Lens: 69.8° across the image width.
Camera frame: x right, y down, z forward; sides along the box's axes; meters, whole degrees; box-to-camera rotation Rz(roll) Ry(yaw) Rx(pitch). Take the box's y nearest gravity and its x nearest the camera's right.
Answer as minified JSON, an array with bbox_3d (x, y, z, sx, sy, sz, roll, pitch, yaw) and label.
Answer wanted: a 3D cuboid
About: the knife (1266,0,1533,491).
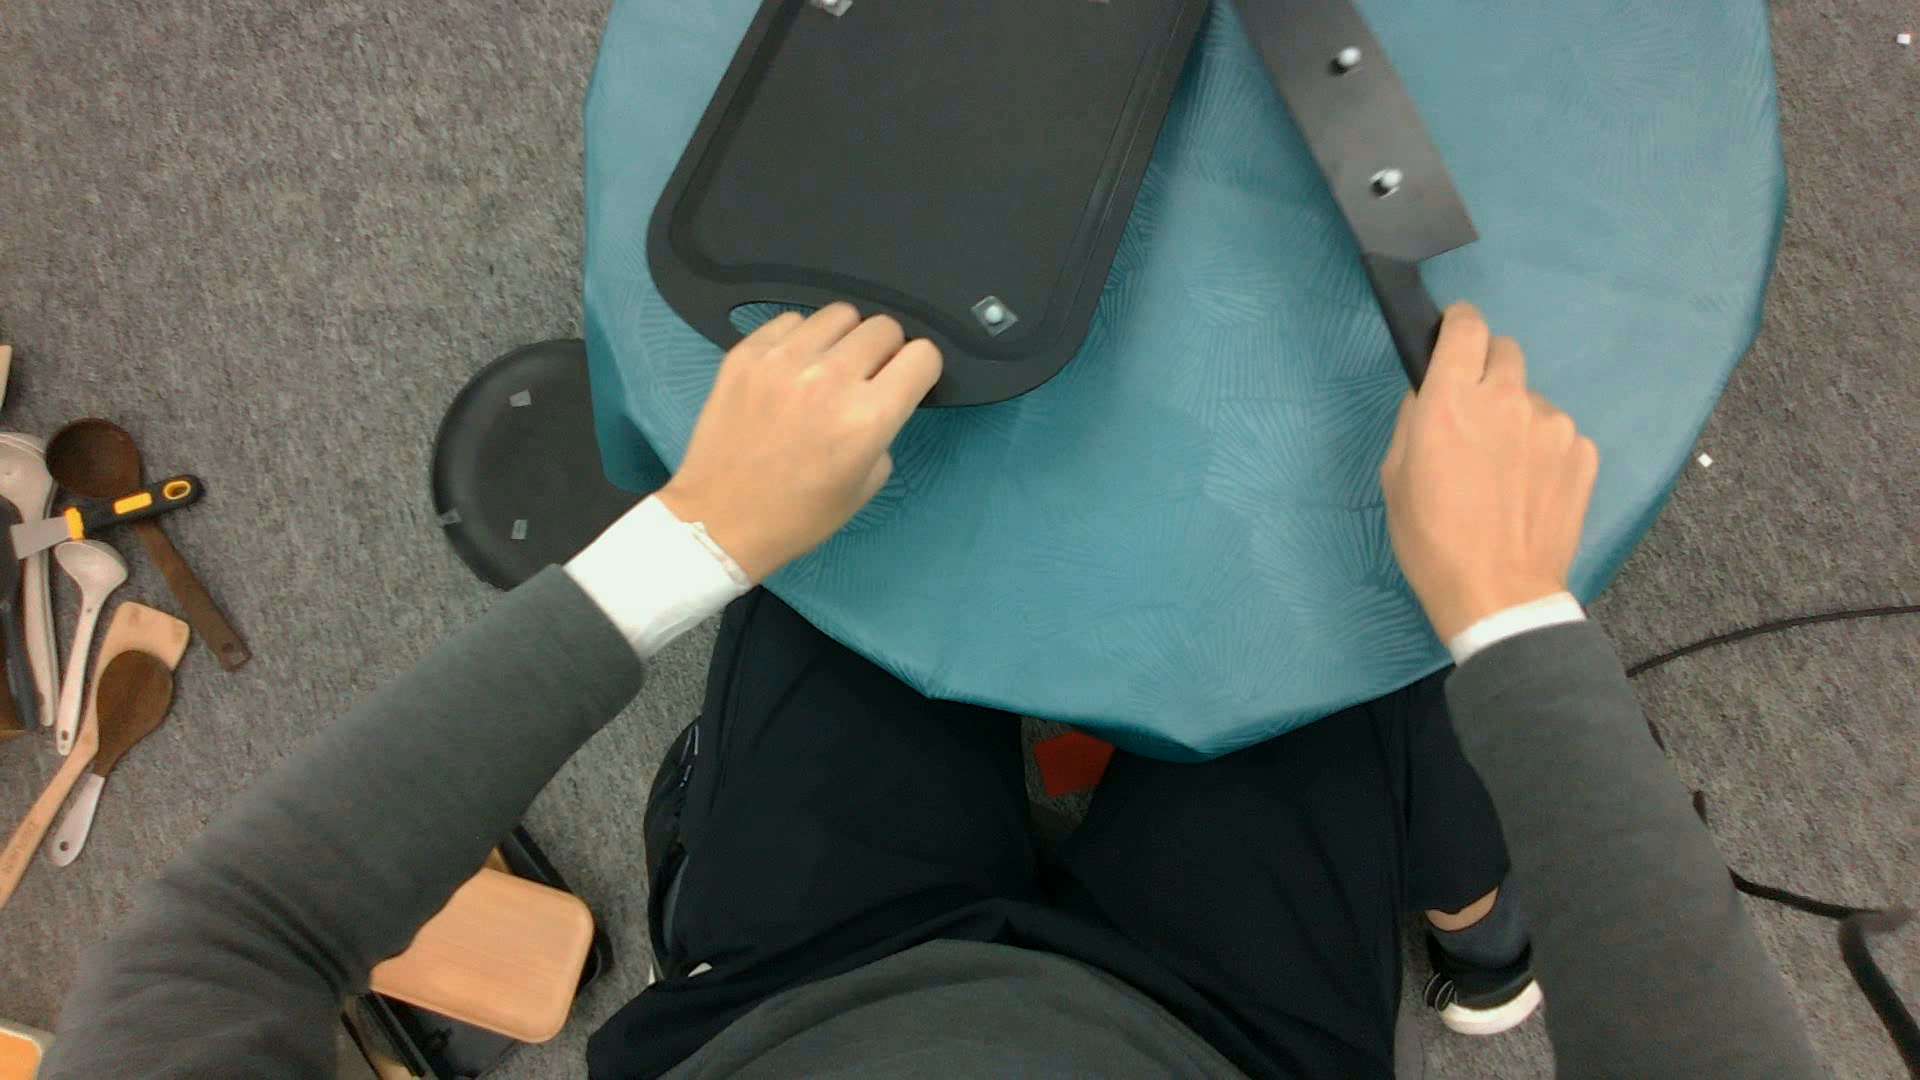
[{"bbox_3d":[0.204,-0.165,0.642,0.081,0.021,0.302,-12,79,-20],"label":"knife"}]

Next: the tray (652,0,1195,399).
[{"bbox_3d":[-0.011,-0.215,0.667,0.211,0.010,0.326,17,70,7],"label":"tray"}]
